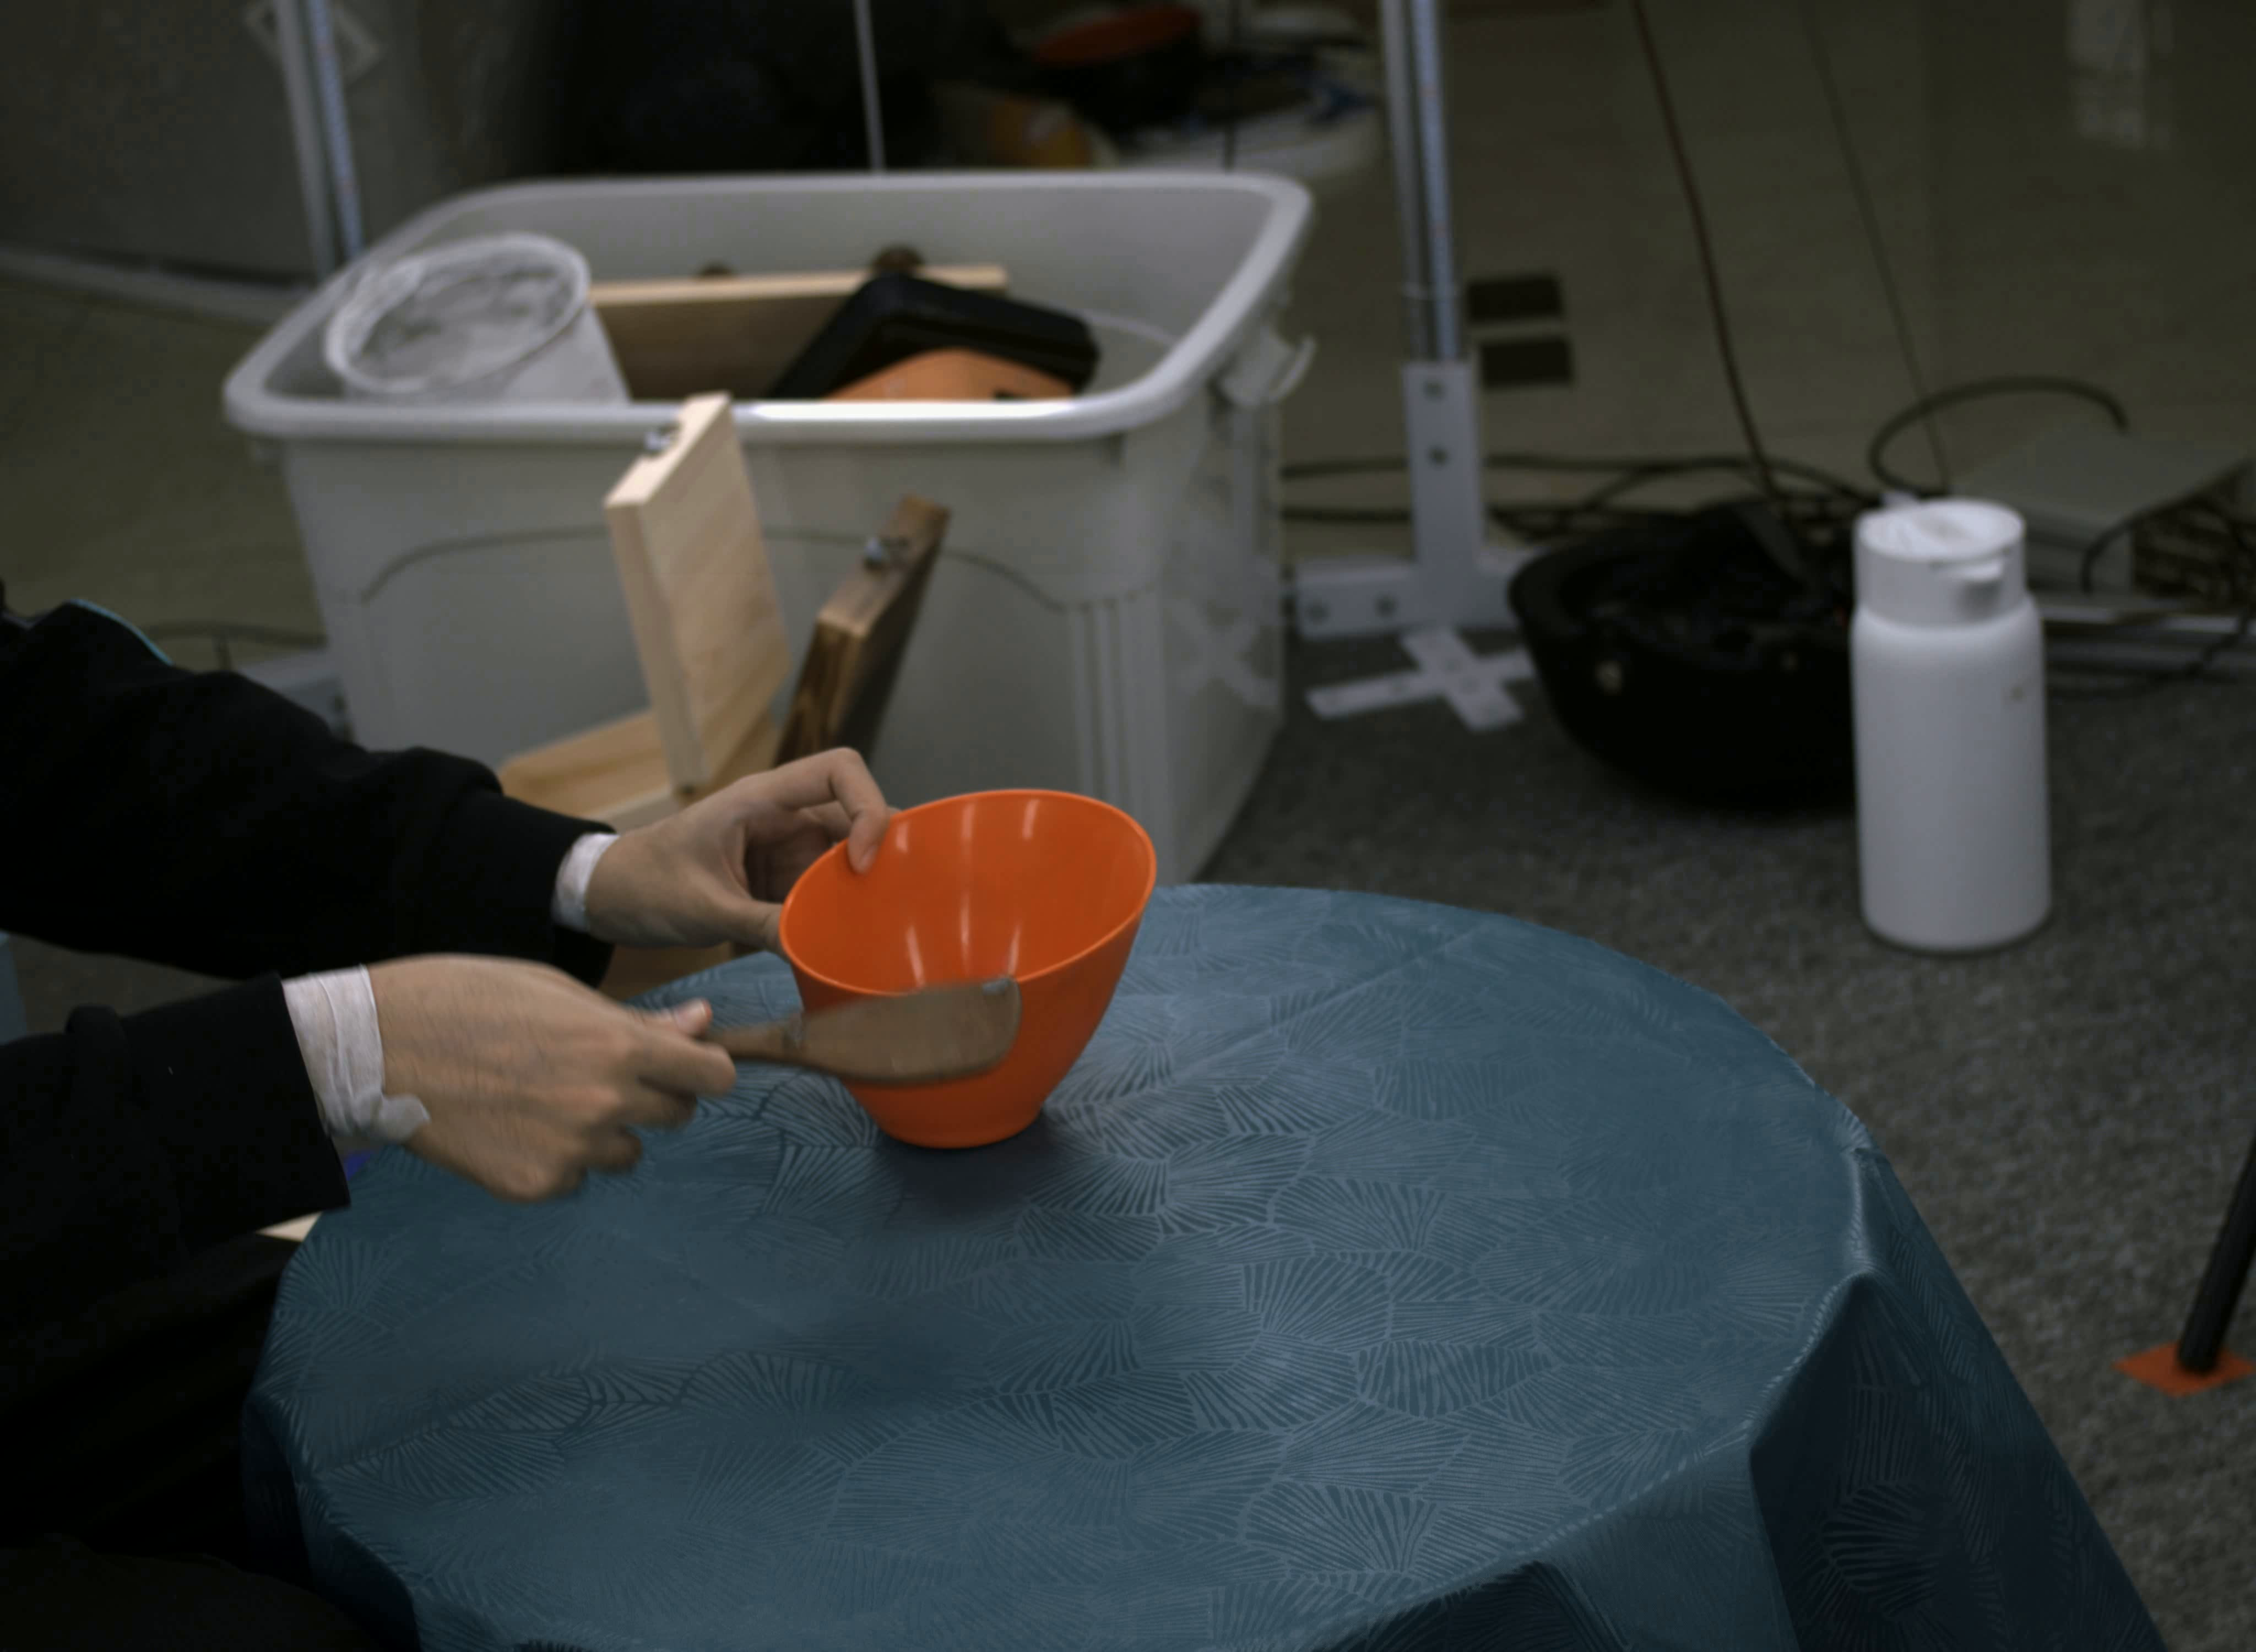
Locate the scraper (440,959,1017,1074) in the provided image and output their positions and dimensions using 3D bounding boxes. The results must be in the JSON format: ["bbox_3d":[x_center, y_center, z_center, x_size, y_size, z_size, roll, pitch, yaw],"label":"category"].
[{"bbox_3d":[-0.144,0.075,2.043,0.211,0.011,0.075,-4,25,5],"label":"scraper"}]

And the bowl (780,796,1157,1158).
[{"bbox_3d":[-0.059,0.065,2.204,0.148,0.106,0.146,-3,27,2],"label":"bowl"}]
